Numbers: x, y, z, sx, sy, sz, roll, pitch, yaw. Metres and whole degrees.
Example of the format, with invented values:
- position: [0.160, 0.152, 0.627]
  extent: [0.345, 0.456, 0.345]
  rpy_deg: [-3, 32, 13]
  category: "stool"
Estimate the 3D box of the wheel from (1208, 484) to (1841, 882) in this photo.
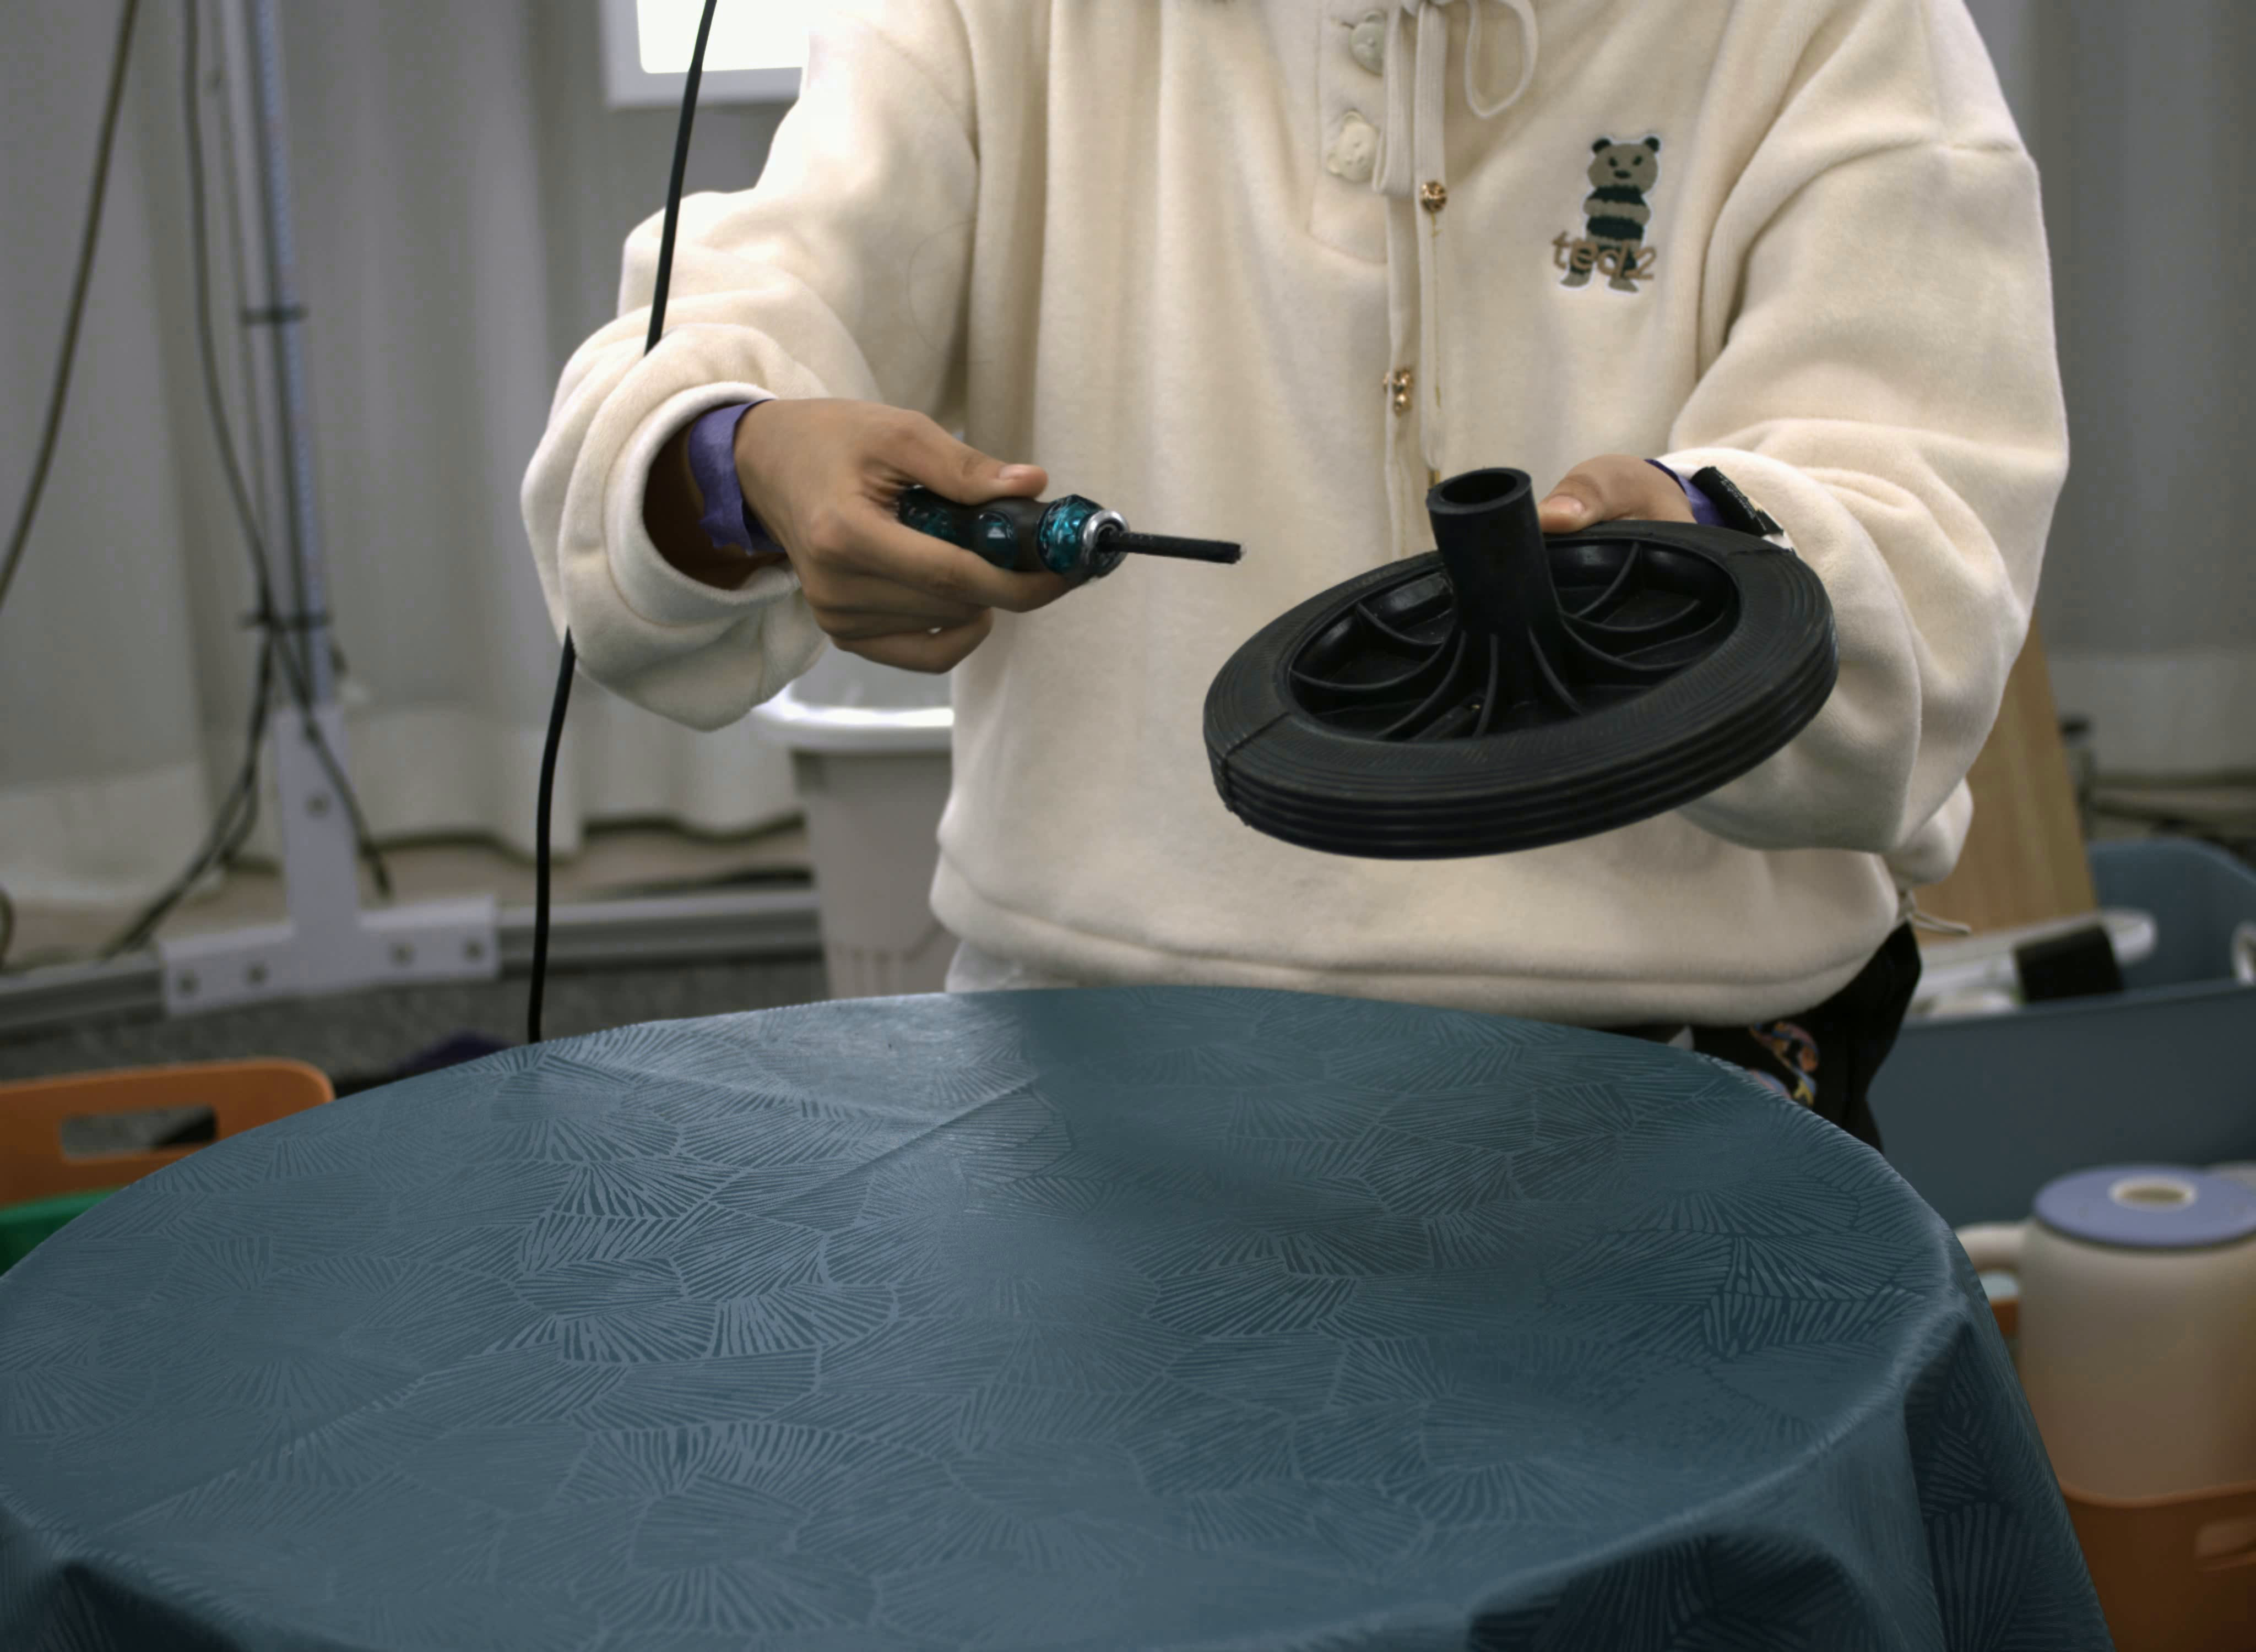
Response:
- position: [0.110, -0.057, 1.596]
  extent: [0.187, 0.078, 0.192]
  rpy_deg: [-5, 28, 19]
  category: "wheel"

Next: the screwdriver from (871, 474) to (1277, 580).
- position: [-0.016, -0.090, 1.714]
  extent: [0.033, 0.033, 0.191]
  rpy_deg: [-14, 15, -37]
  category: "screwdriver"
